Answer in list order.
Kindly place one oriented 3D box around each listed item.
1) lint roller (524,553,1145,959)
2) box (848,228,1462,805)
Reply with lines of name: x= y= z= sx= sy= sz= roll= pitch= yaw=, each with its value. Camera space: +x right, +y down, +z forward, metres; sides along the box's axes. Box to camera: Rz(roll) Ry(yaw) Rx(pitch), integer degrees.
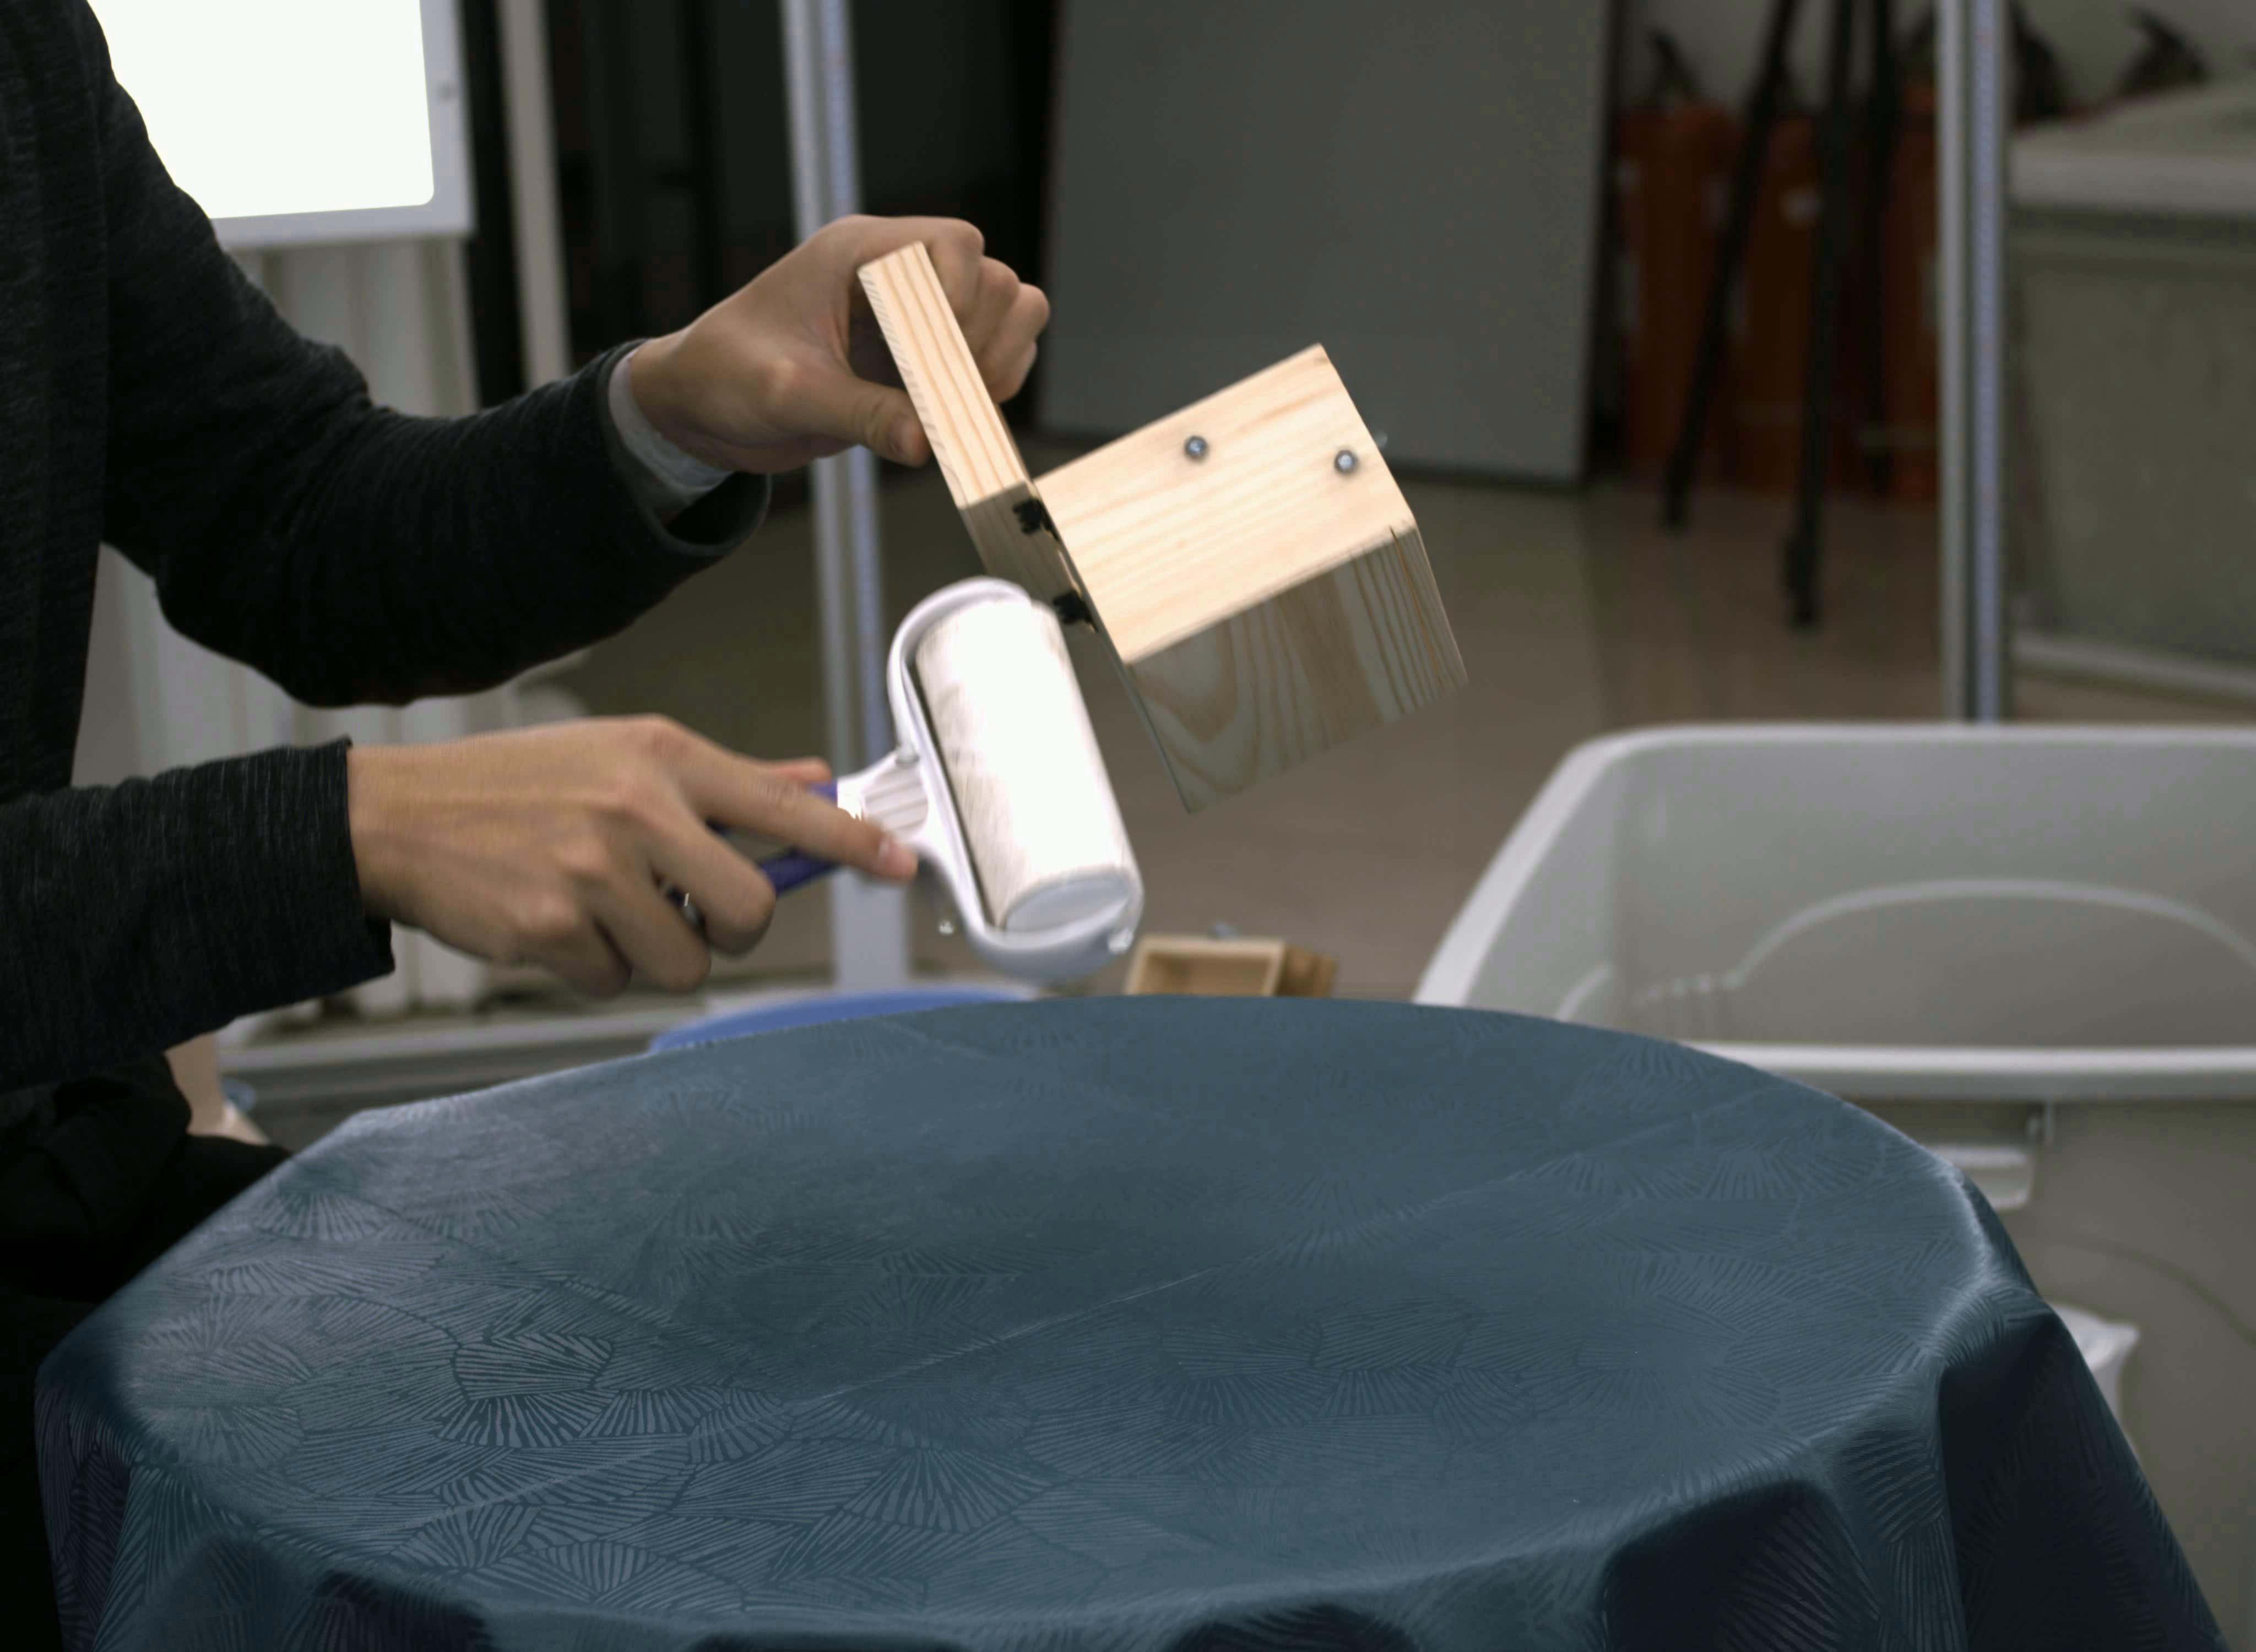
lint roller: x=-0.093 y=-0.011 z=1.614 sx=0.177 sy=0.135 sz=0.050 roll=-10 pitch=-31 yaw=-11
box: x=0.010 y=-0.118 z=1.728 sx=0.133 sy=0.102 sz=0.187 roll=-26 pitch=57 yaw=-1
